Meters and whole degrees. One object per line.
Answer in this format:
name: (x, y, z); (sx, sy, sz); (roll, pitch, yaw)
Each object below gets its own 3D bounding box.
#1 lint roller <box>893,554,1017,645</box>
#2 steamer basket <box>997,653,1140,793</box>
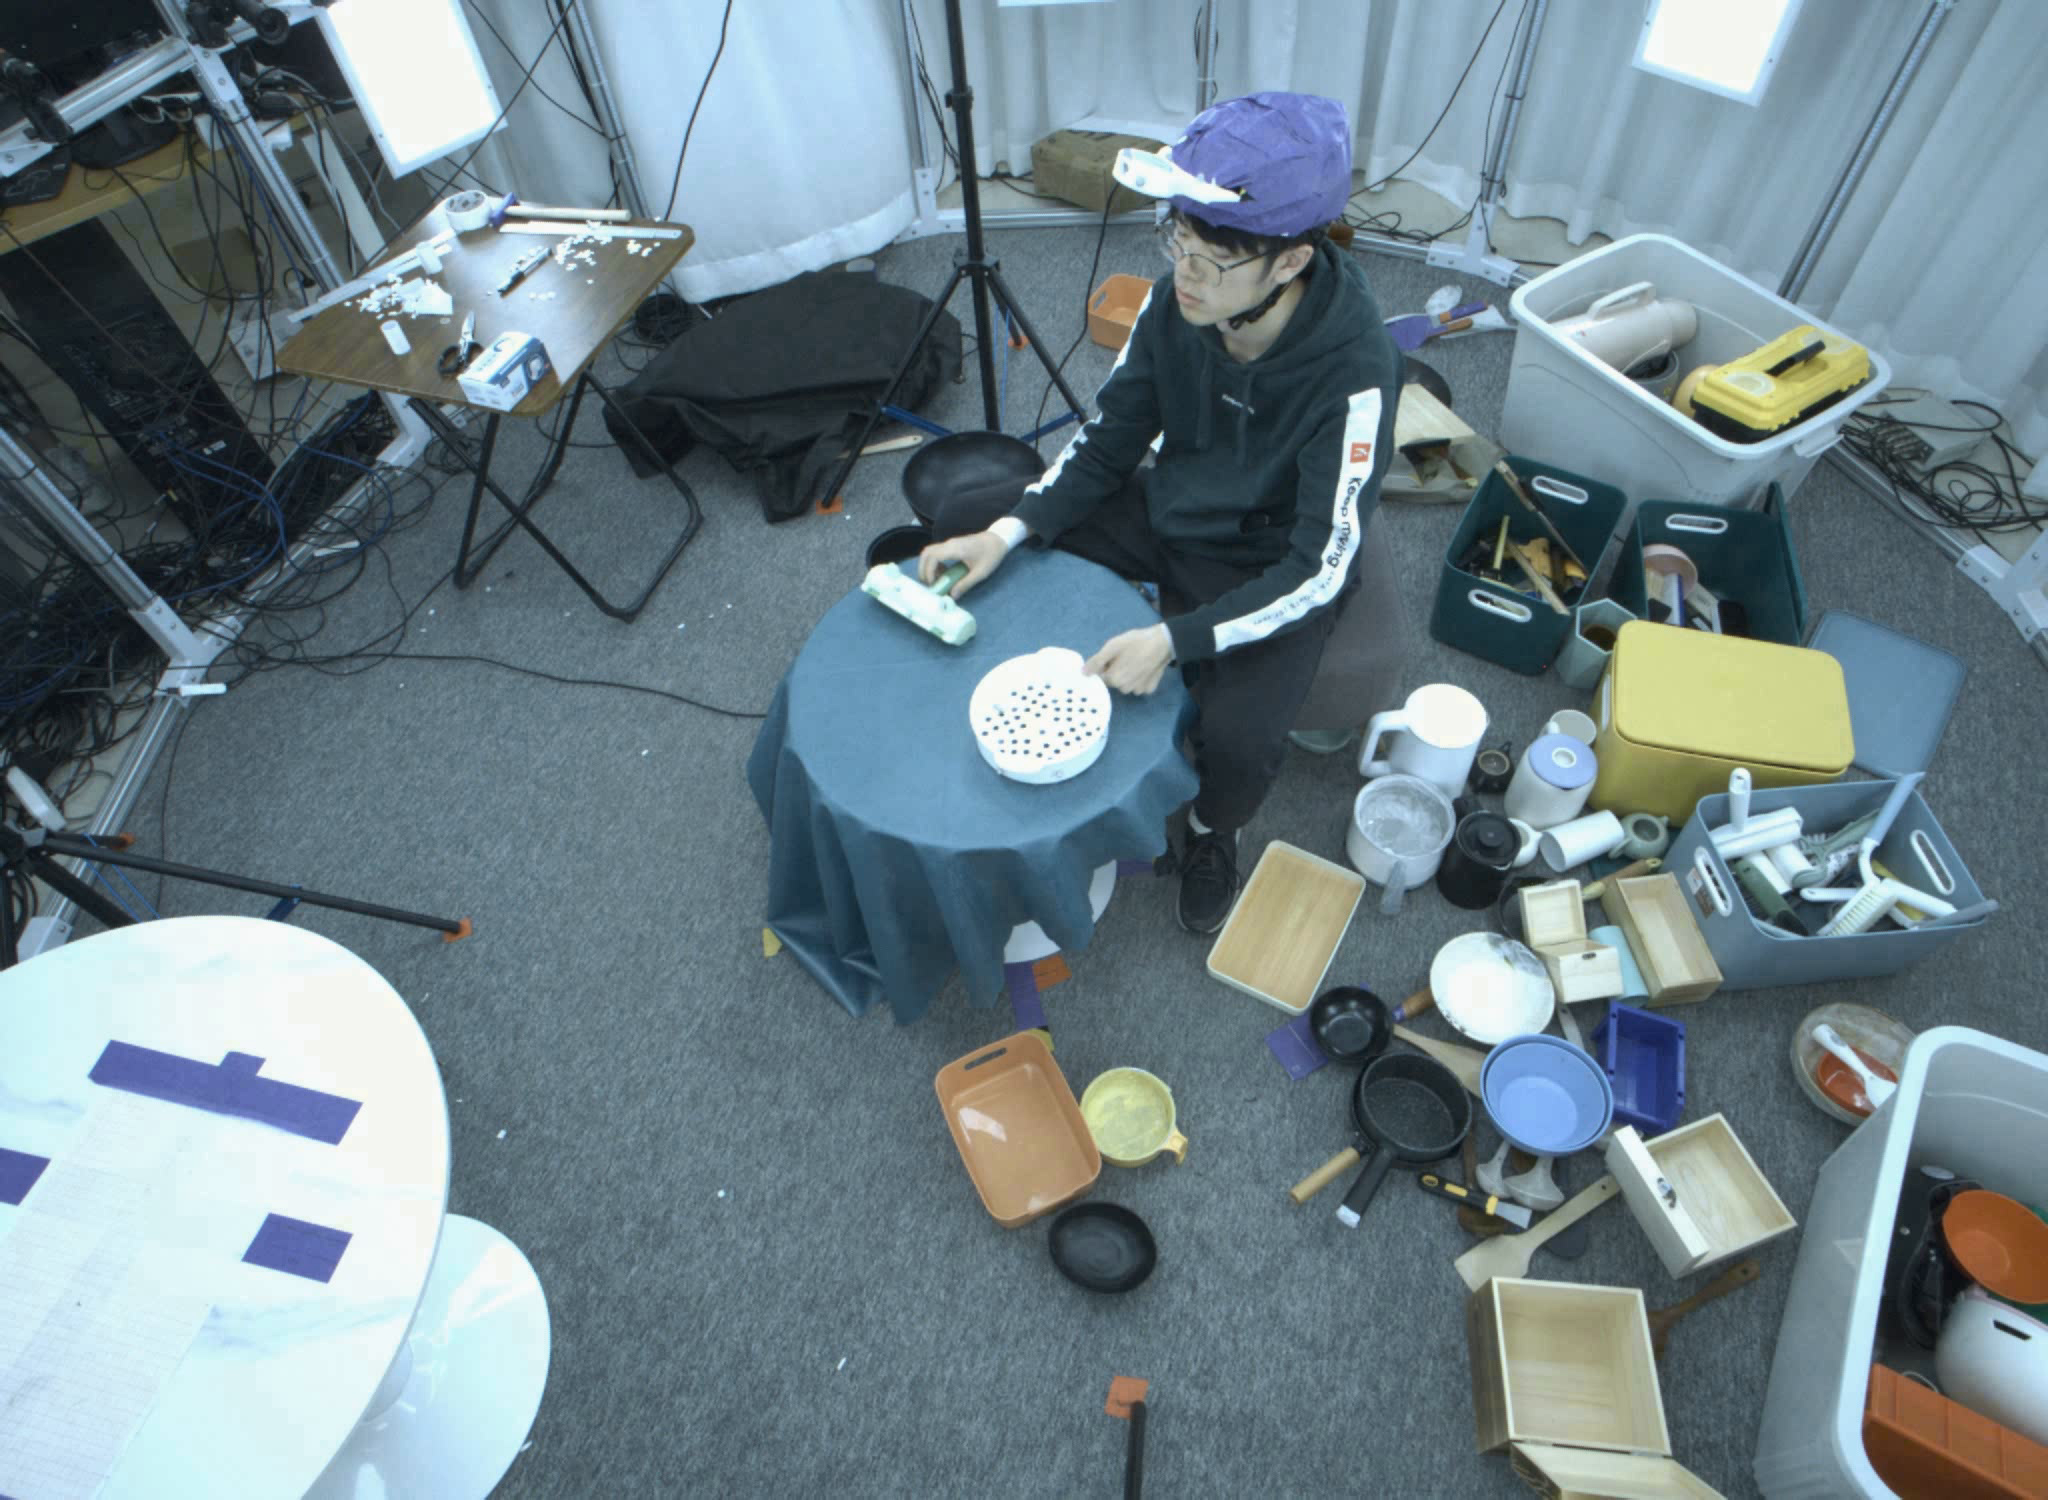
lint roller: (-0.080, -0.269, 1.929); (0.195, 0.083, 0.184); (35, 67, 24)
steamer basket: (0.064, -0.033, 1.761); (0.200, 0.070, 0.230); (14, 58, 13)
